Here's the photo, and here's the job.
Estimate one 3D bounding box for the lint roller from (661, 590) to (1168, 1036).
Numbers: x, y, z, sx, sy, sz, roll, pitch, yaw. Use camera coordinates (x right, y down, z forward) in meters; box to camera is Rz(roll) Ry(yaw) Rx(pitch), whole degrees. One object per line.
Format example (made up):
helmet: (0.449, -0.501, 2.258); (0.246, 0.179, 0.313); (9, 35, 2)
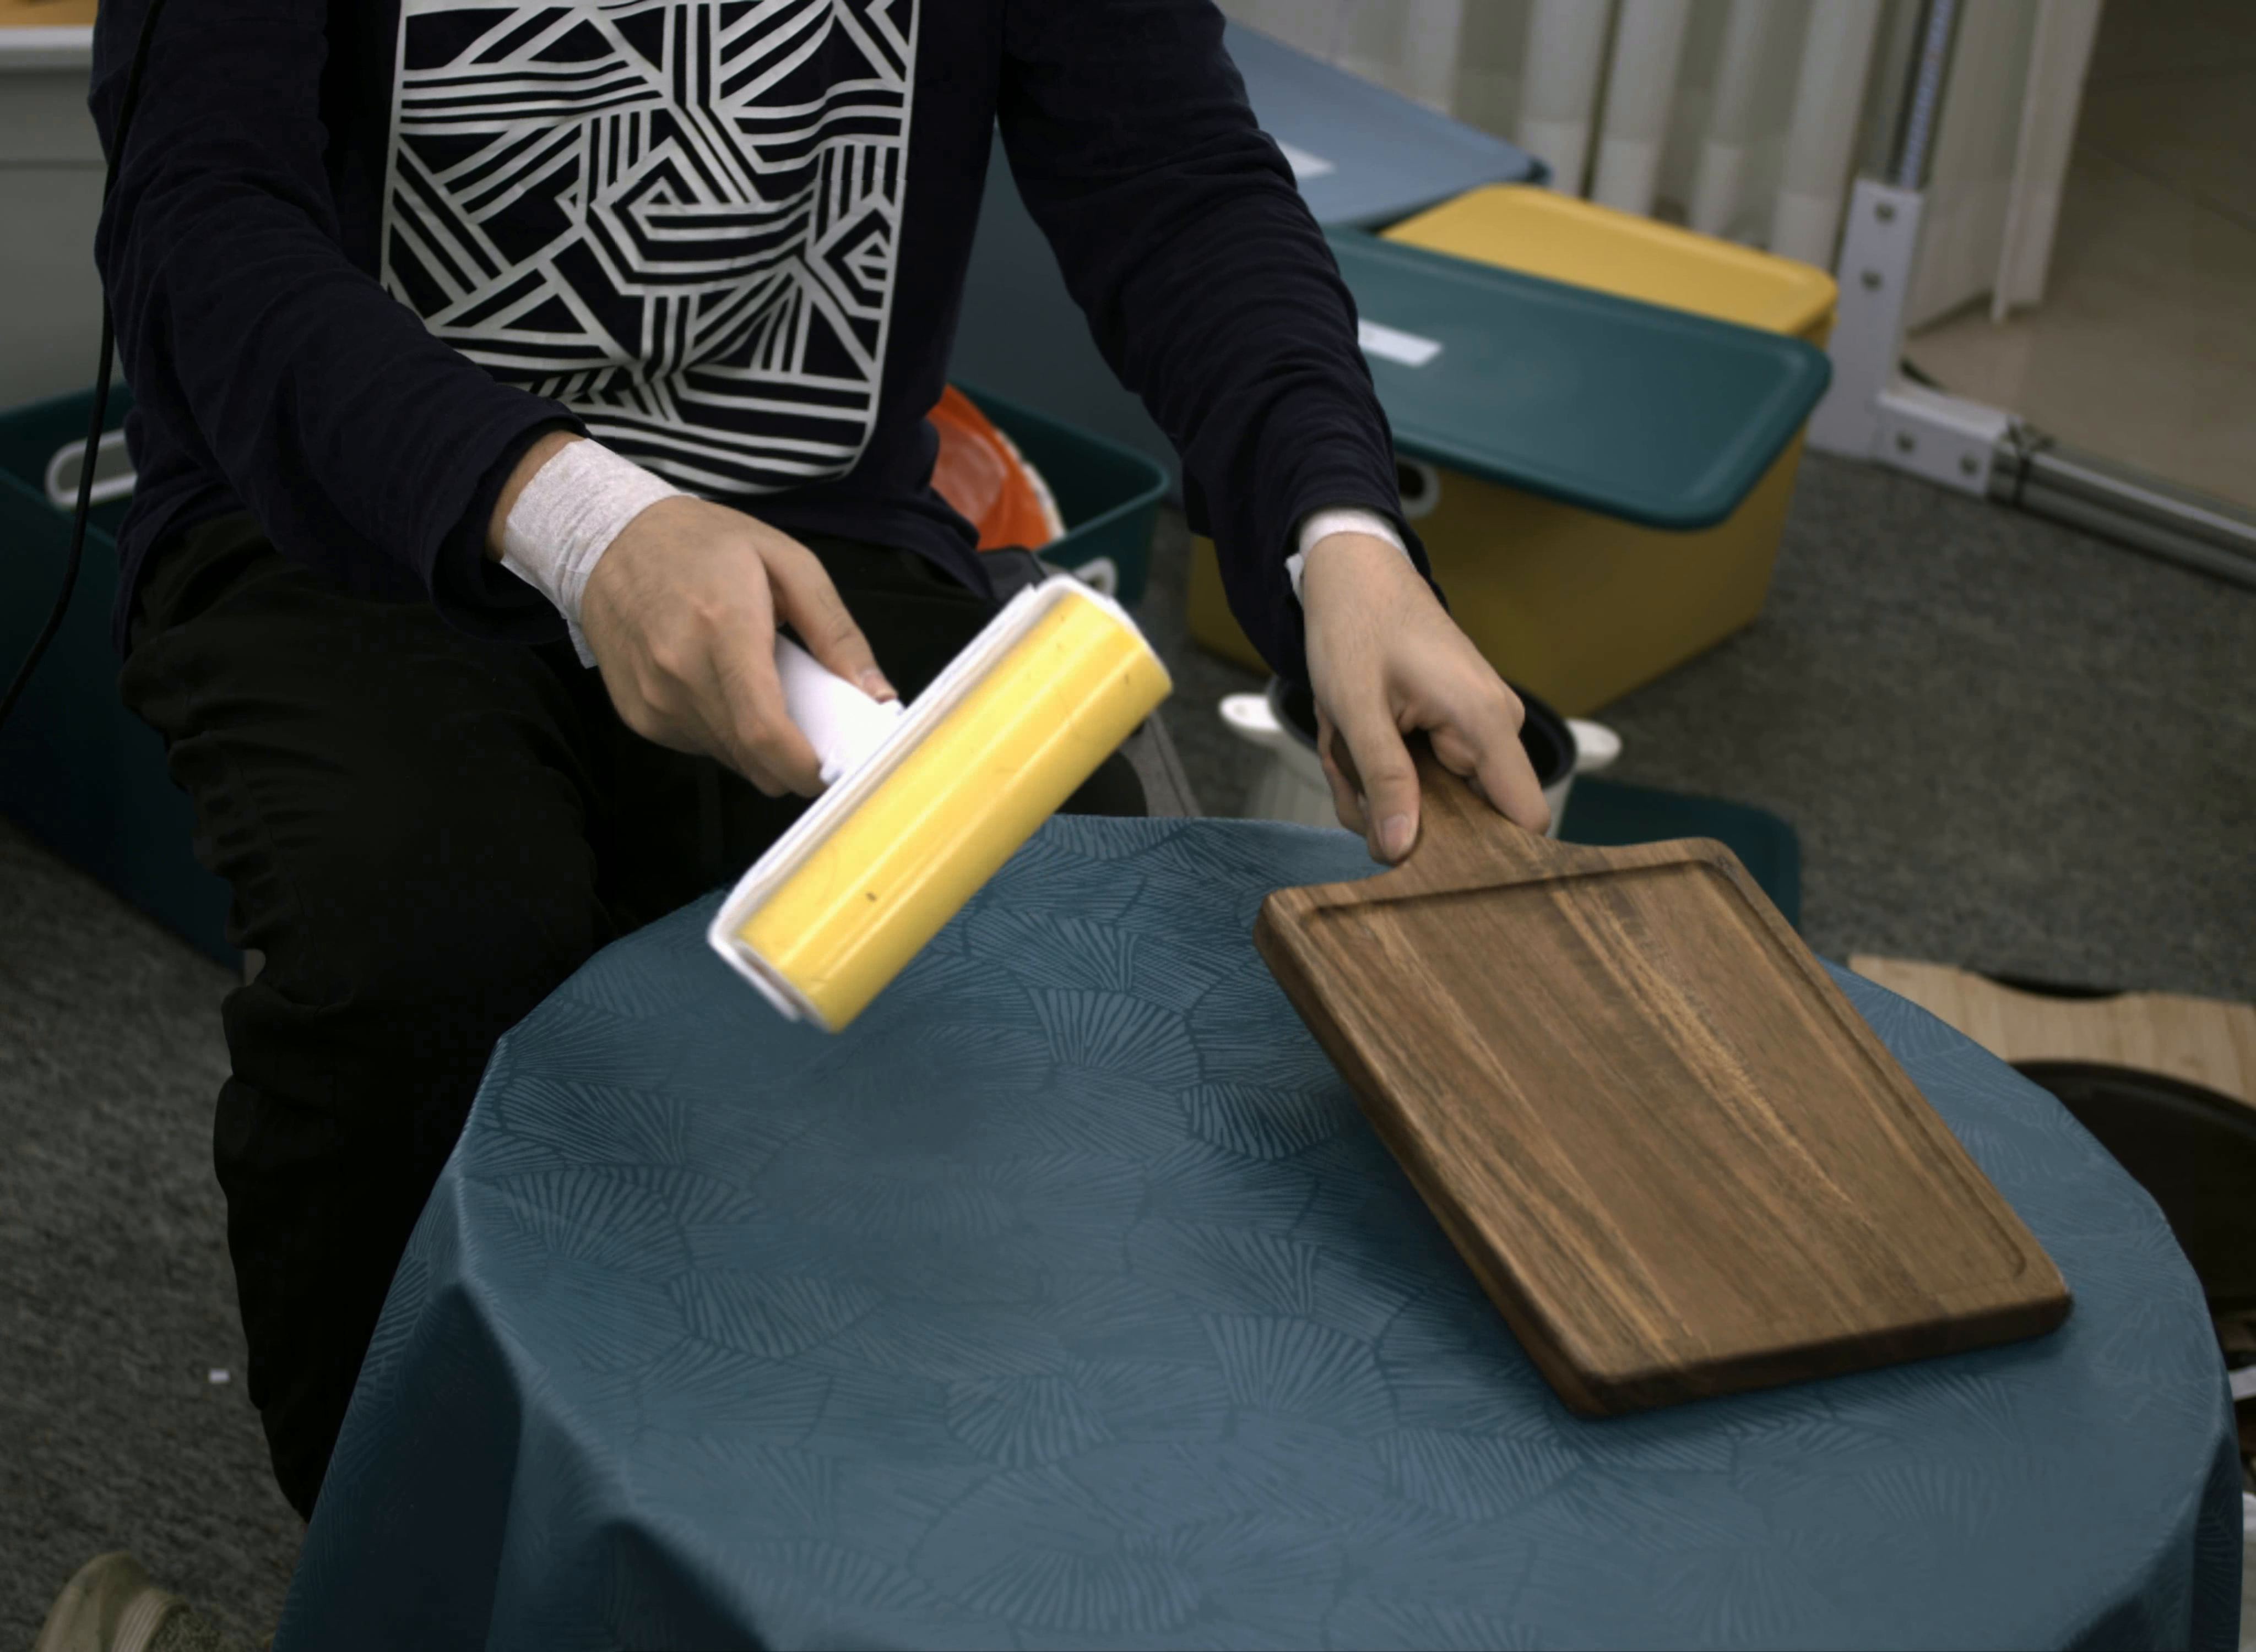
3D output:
lint roller: (-0.104, -0.035, 1.787); (0.174, 0.051, 0.193); (-45, 51, -11)

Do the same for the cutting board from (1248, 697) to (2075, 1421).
cutting board: (0.159, 0.067, 1.855); (0.200, 0.023, 0.355); (-7, 41, -26)
